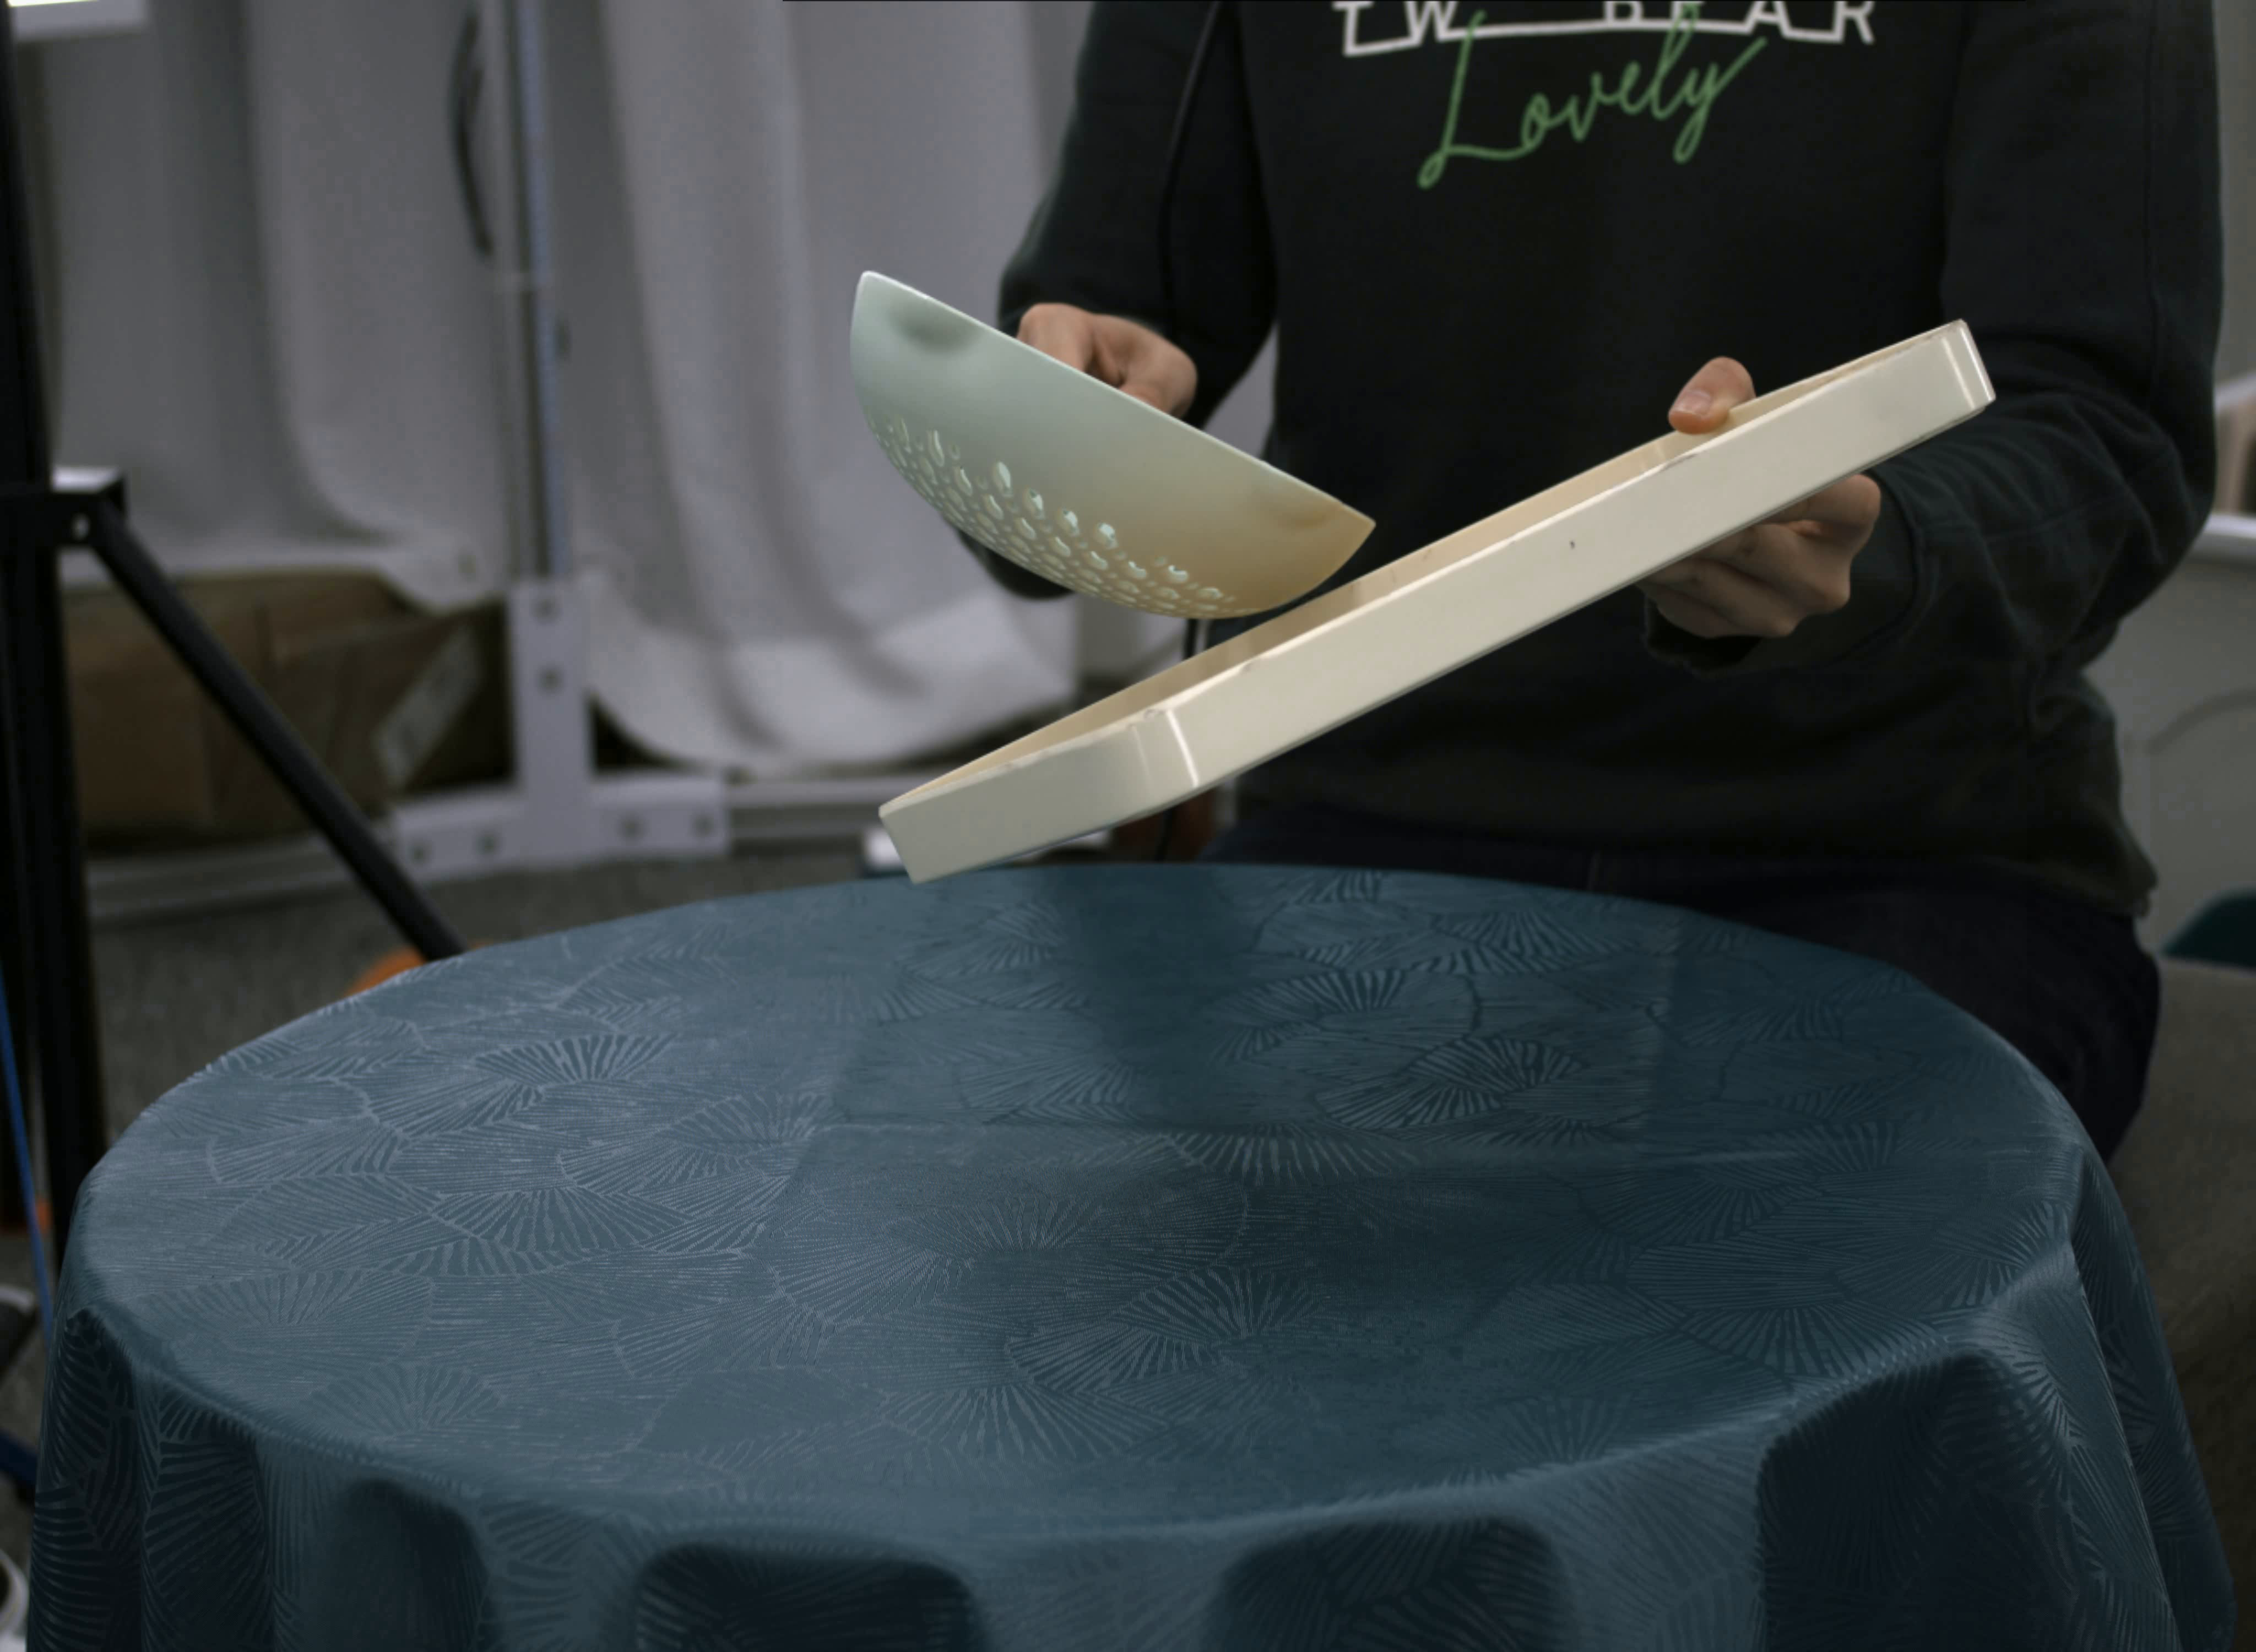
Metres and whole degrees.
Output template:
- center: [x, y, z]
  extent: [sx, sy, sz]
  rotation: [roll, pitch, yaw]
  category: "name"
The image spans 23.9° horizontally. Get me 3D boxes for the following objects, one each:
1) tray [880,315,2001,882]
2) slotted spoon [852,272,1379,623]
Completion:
- center: [0.087, -0.062, 1.507]
  extent: [0.295, 0.027, 0.194]
  rotation: [-25, 4, -23]
  category: "tray"
- center: [-0.009, -0.118, 1.666]
  extent: [0.169, 0.075, 0.358]
  rotation: [27, 10, -1]
  category: "slotted spoon"
